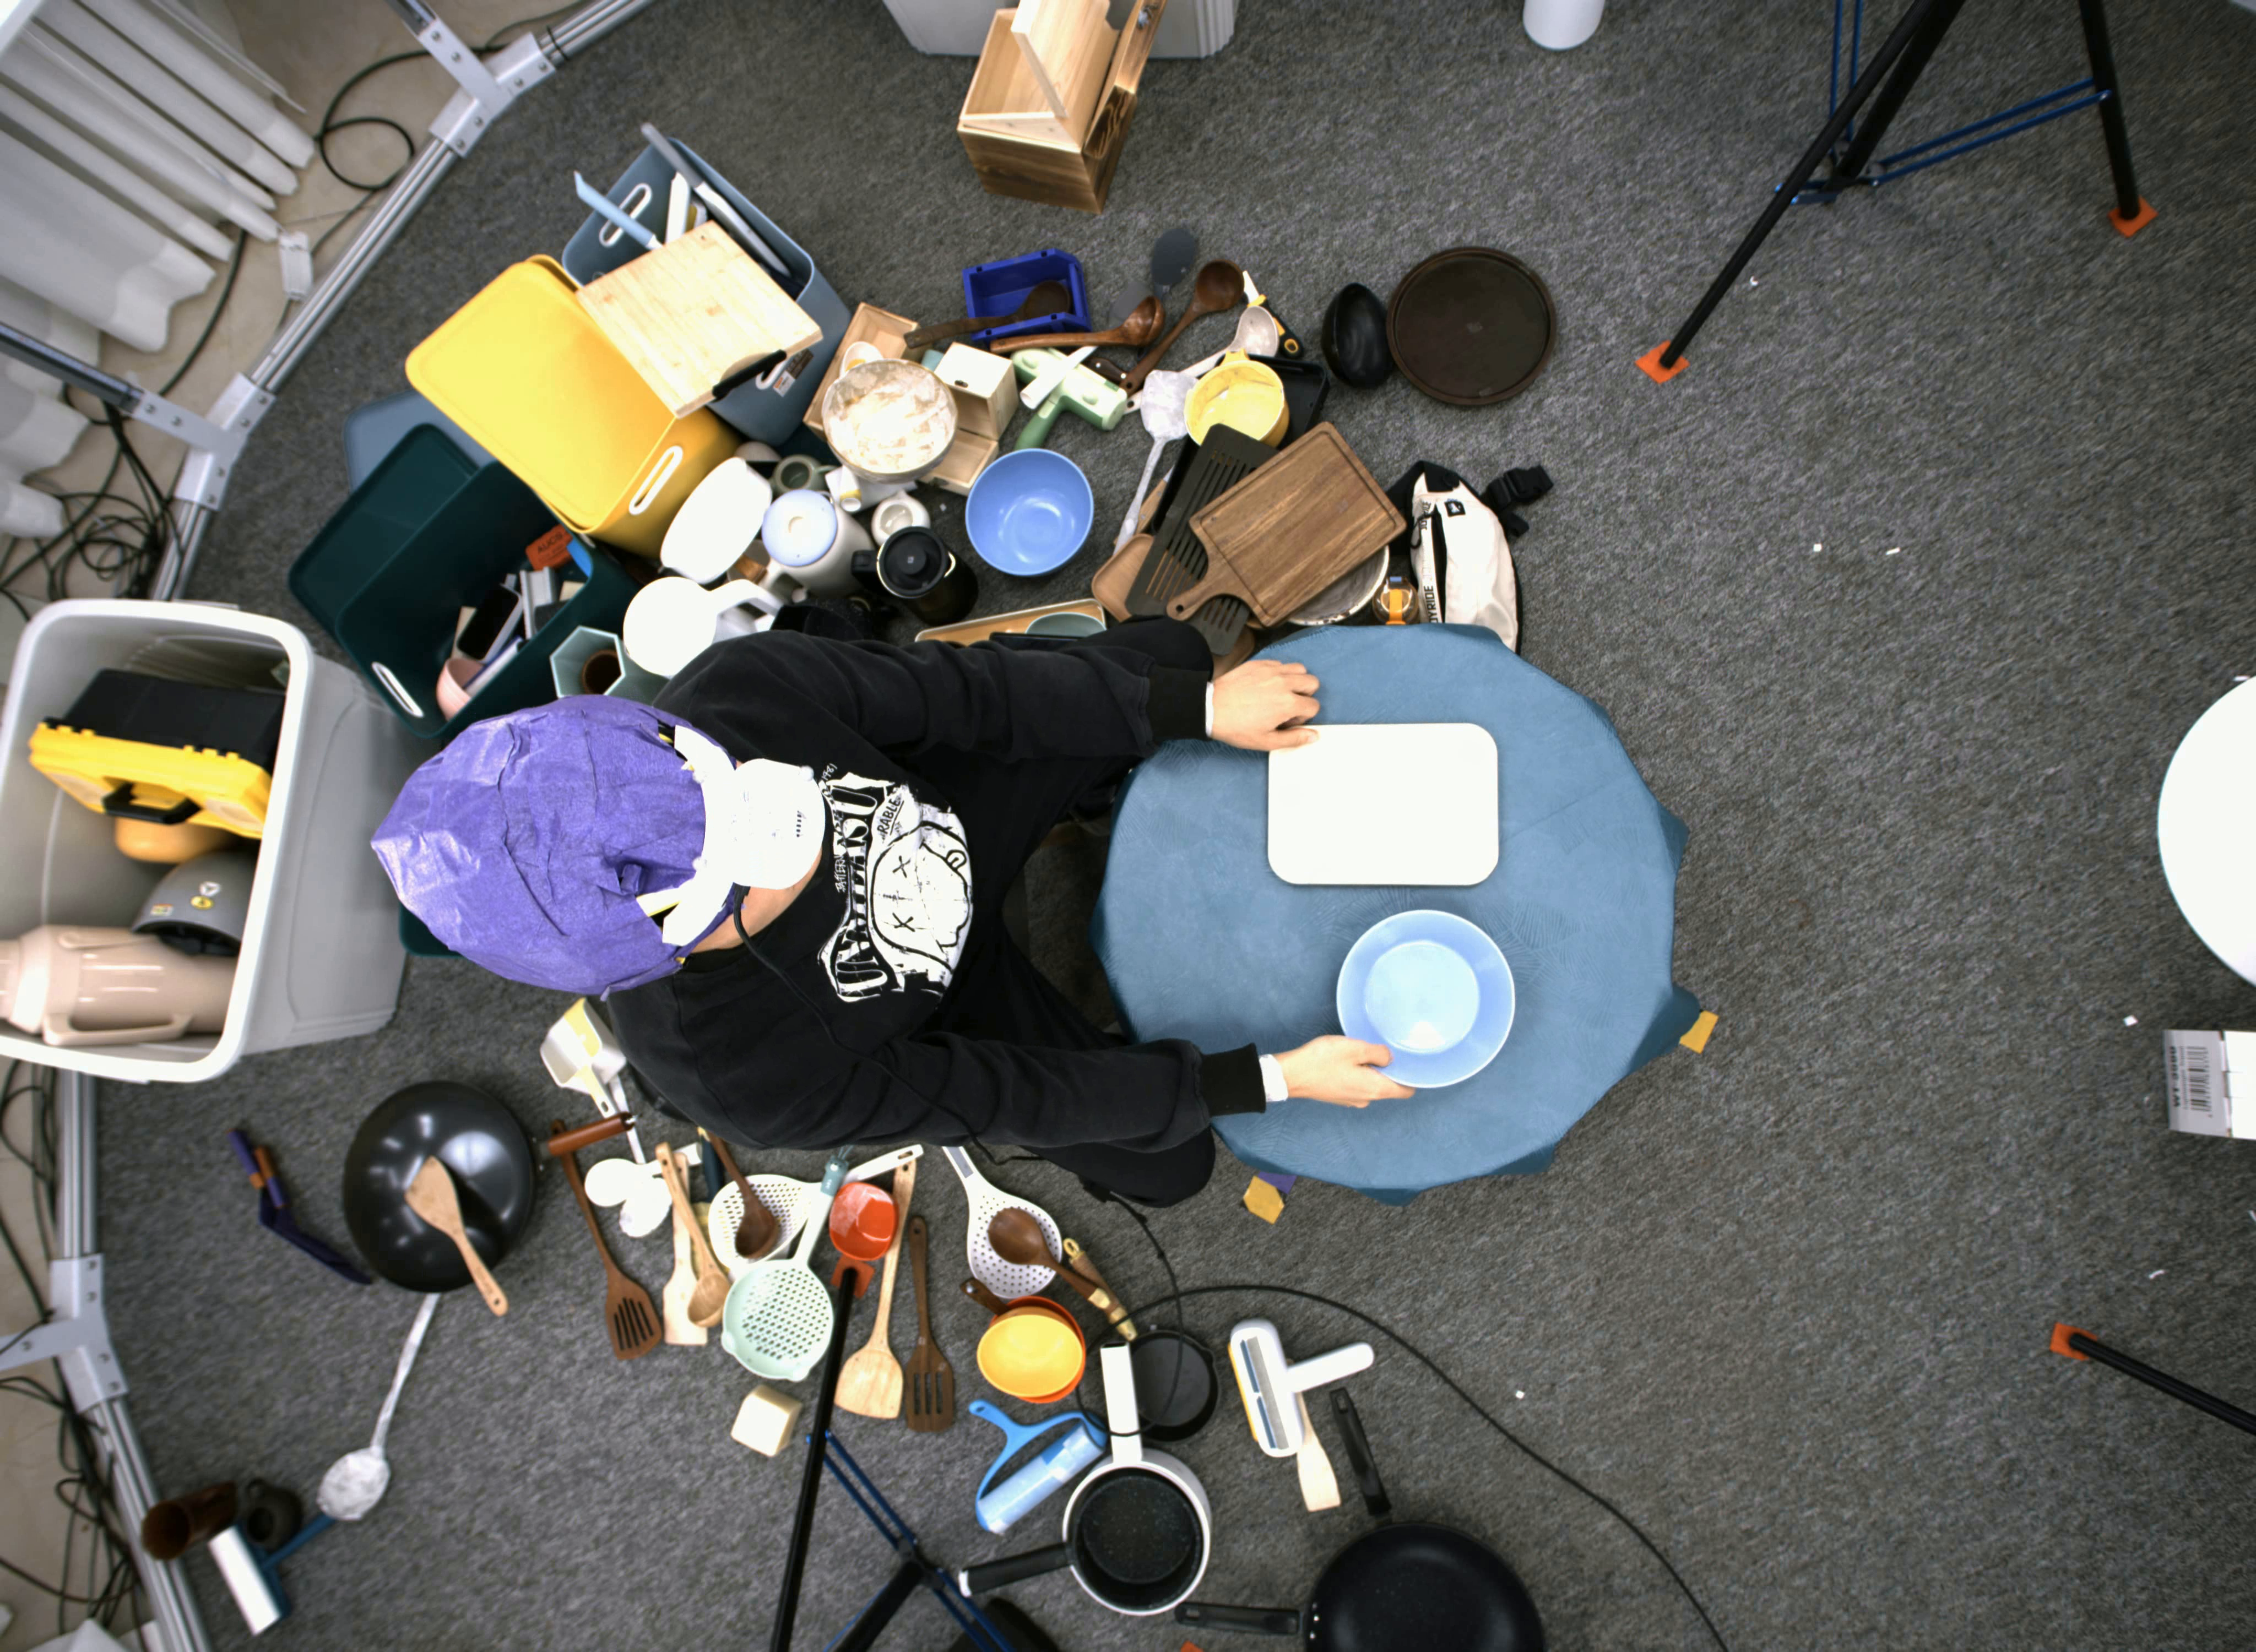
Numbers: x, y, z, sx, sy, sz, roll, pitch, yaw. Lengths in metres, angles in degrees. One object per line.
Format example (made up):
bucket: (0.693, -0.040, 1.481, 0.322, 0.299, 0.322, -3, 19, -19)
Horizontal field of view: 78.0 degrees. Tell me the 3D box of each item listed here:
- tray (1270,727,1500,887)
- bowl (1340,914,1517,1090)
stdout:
tray: (0.271, -0.021, 1.462, 0.240, 0.017, 0.170, 0, 86, 10)
bowl: (0.305, 0.178, 1.414, 0.176, 0.070, 0.175, -1, 85, 8)
